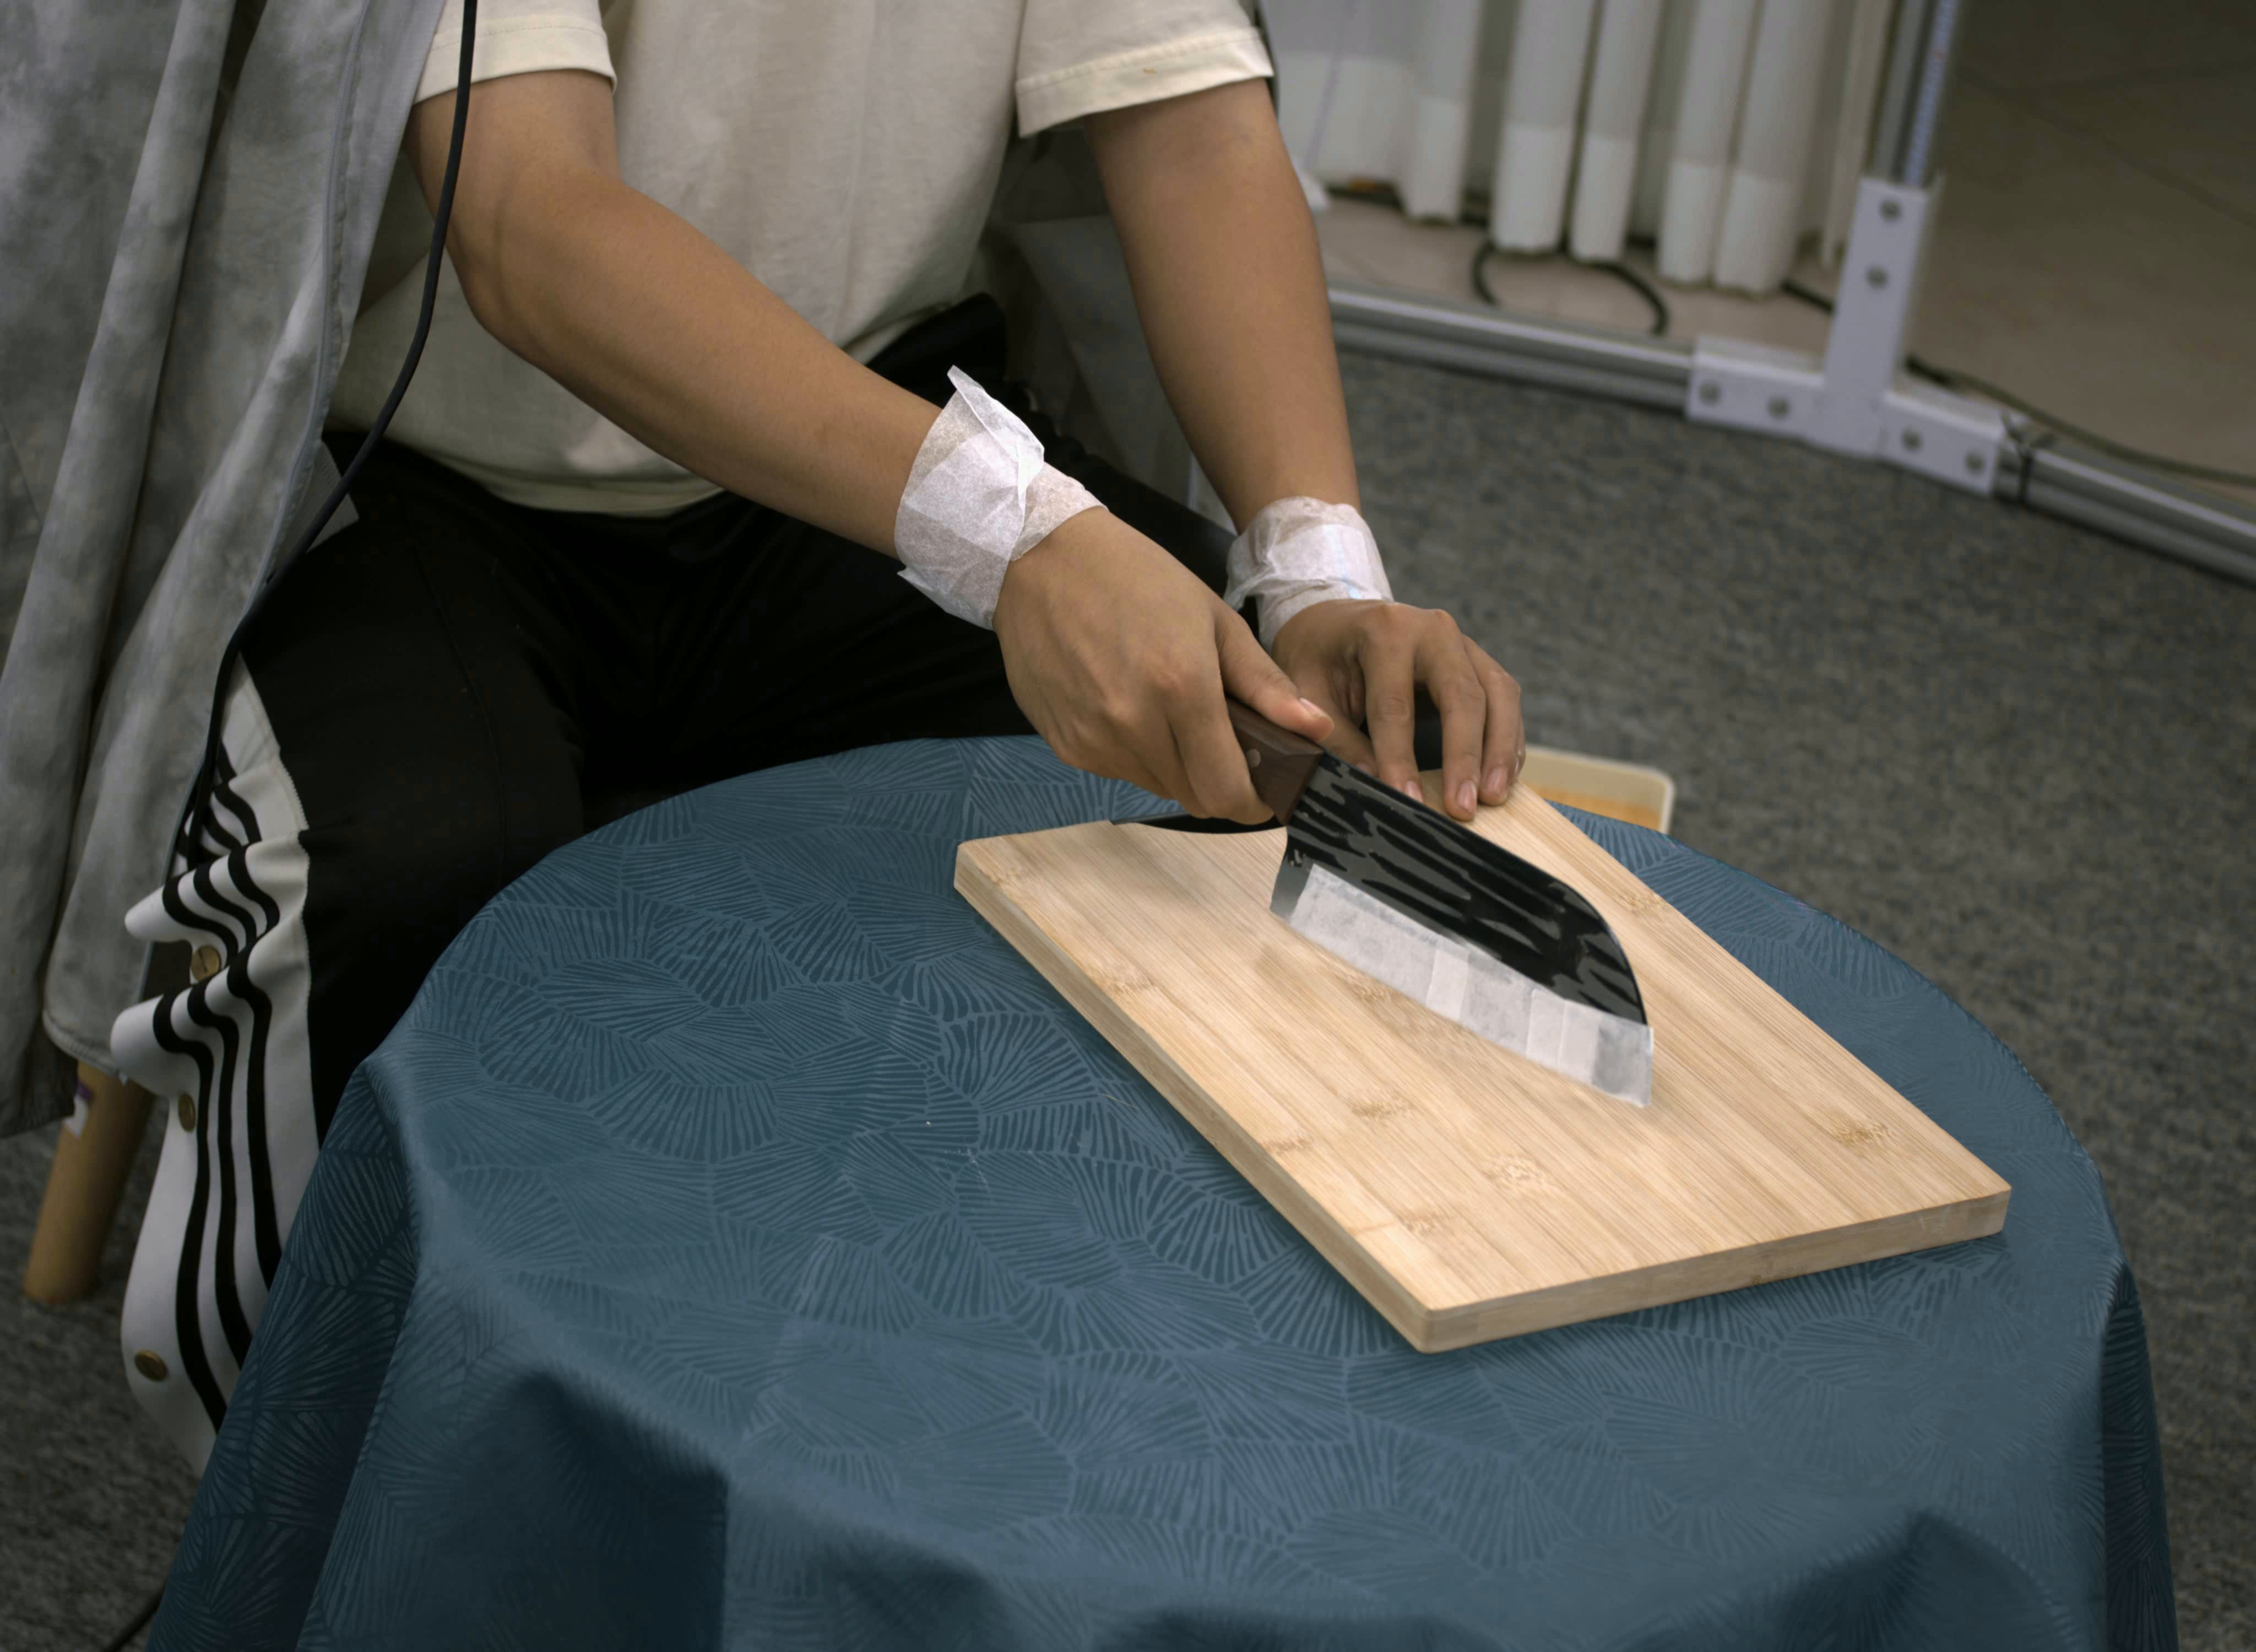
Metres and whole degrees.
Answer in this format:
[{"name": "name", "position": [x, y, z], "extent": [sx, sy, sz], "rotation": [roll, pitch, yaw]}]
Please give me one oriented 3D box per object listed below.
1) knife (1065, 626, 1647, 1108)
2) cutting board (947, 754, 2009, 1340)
[{"name": "knife", "position": [0.079, 0.013, 1.920], "extent": [0.302, 0.068, 0.024], "rotation": [32, 22, 35]}, {"name": "cutting board", "position": [0.118, 0.072, 1.915], "extent": [0.249, 0.023, 0.352], "rotation": [-9, 31, -29]}]
